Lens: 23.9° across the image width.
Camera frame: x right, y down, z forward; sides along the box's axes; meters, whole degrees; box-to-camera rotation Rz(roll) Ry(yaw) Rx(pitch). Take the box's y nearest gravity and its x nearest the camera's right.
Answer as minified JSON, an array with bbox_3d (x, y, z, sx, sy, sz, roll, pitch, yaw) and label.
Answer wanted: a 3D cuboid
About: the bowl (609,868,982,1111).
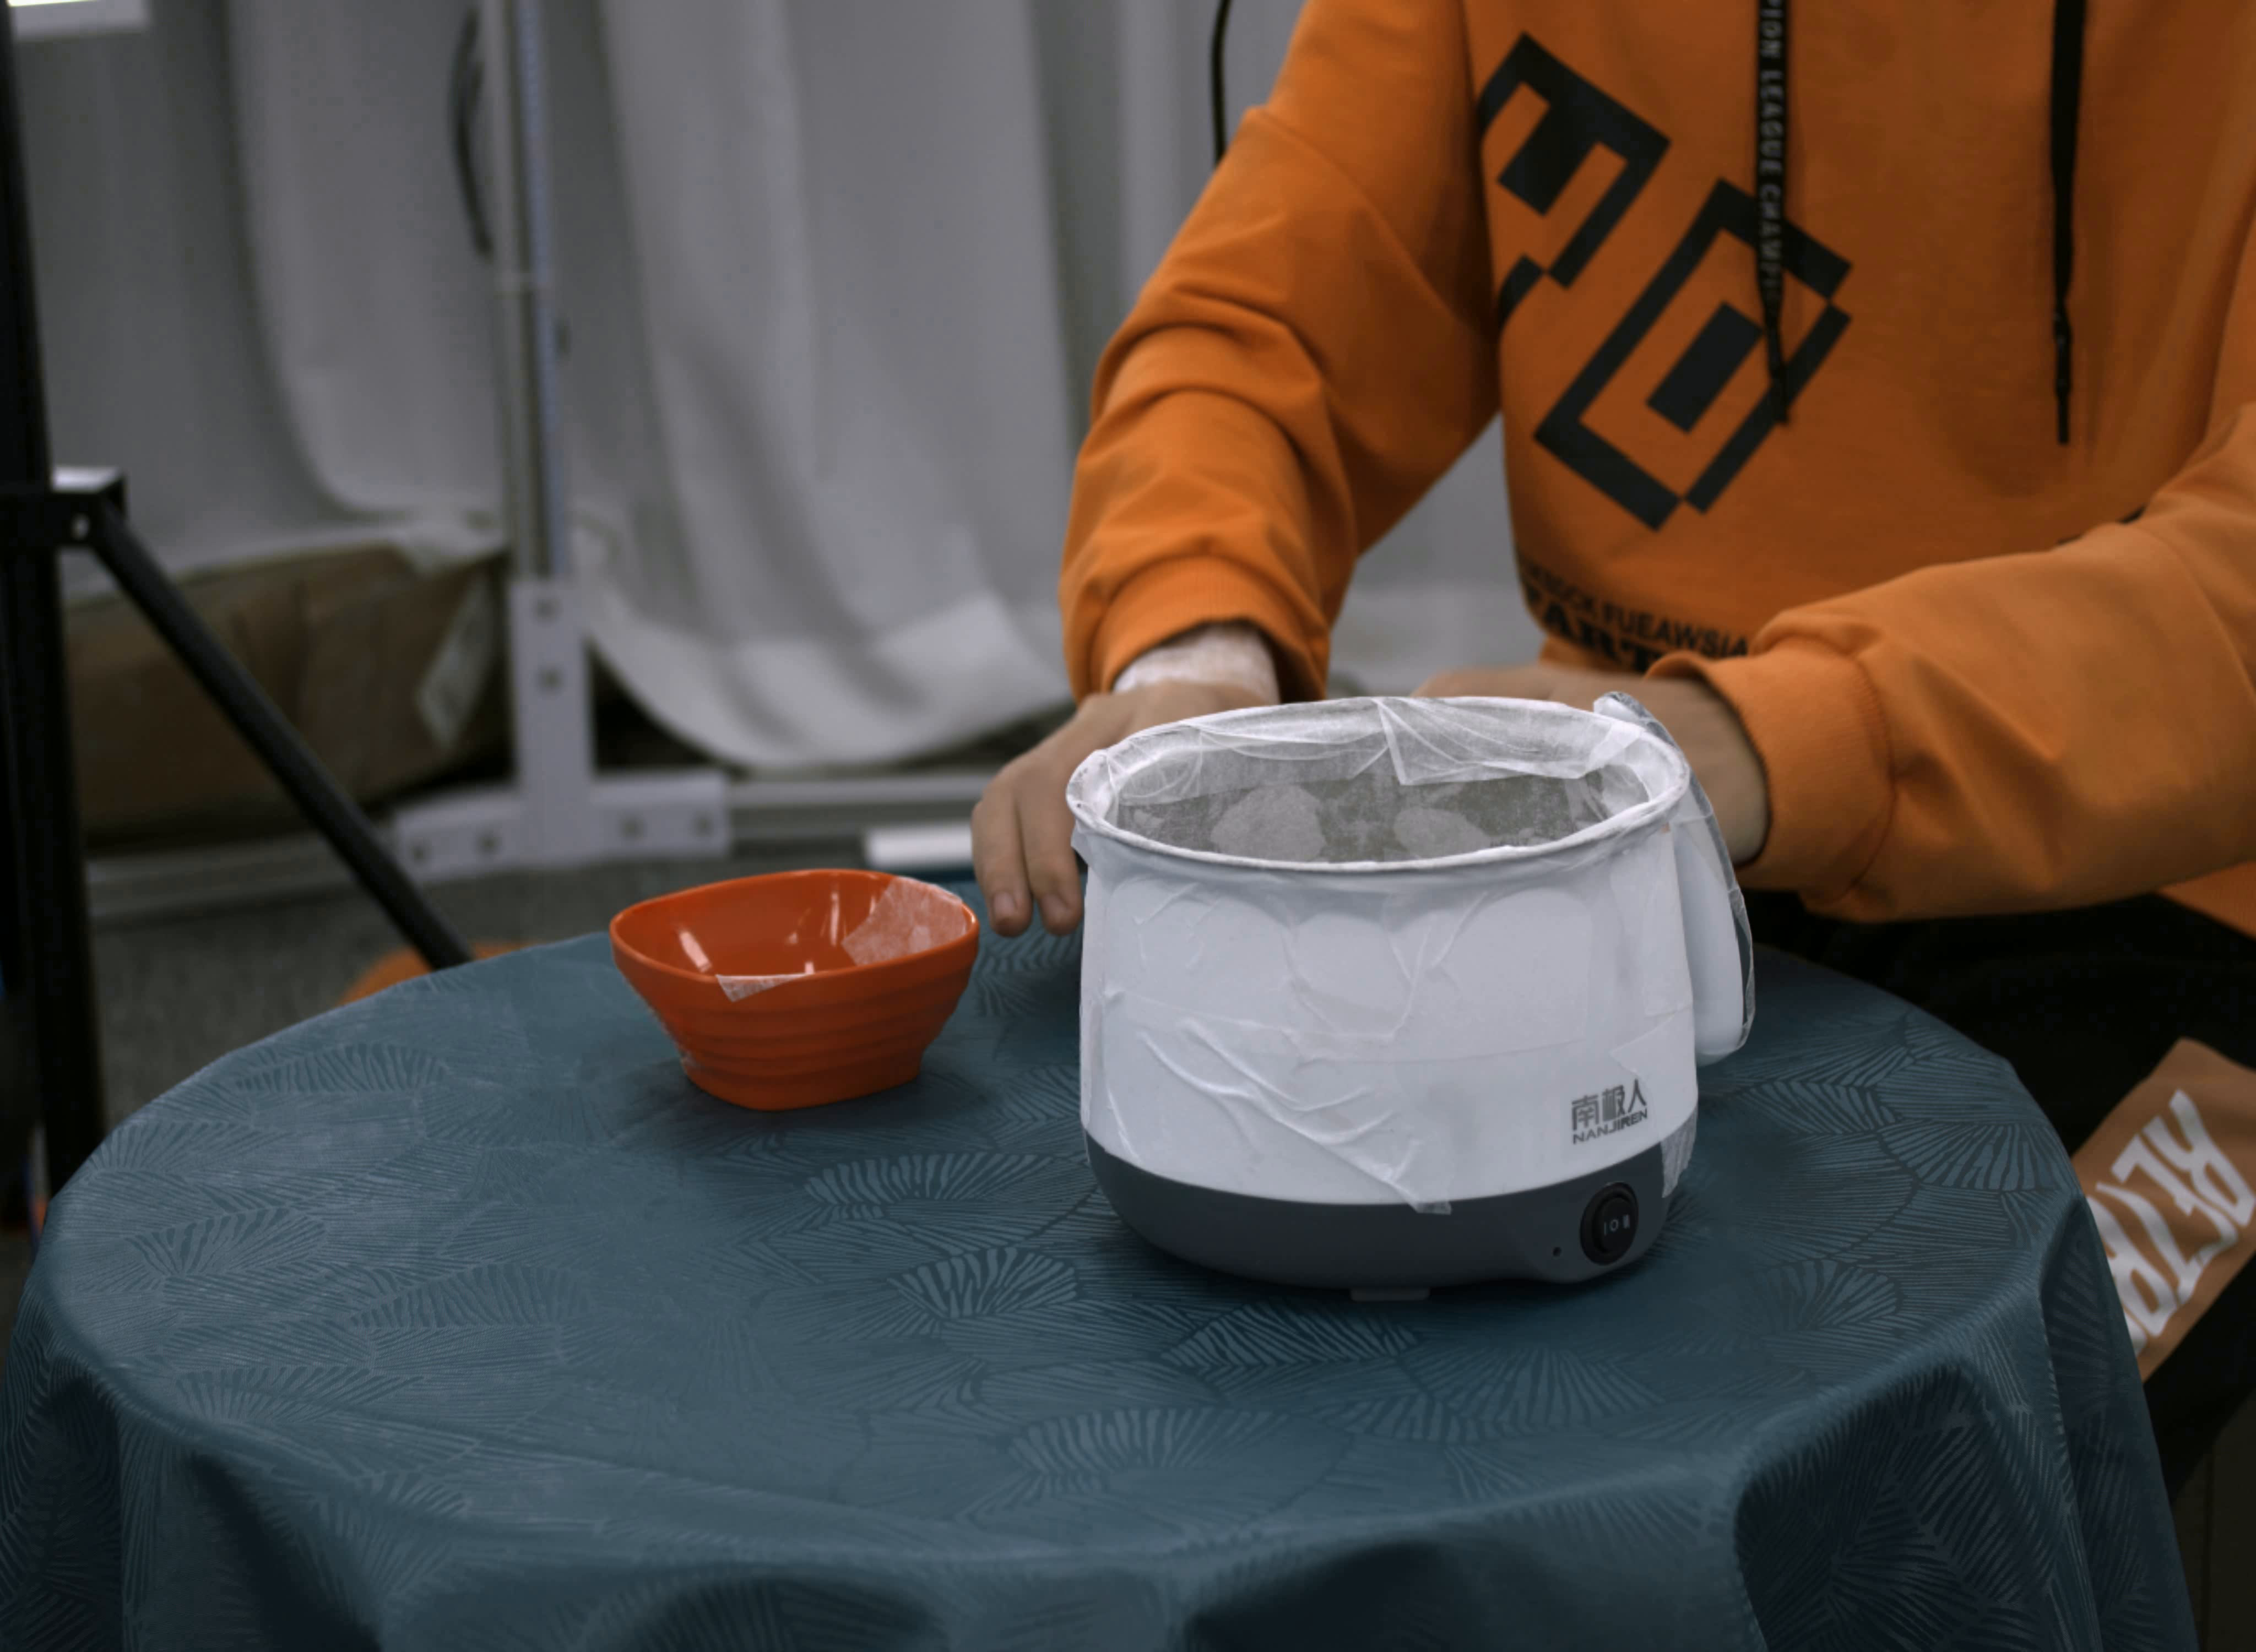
[{"bbox_3d":[-0.103,0.053,1.674,0.118,0.051,0.119,-4,15,0],"label":"bowl"}]

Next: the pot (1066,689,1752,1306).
[{"bbox_3d":[0.093,0.041,1.526,0.228,0.136,0.183,-17,21,-40],"label":"pot"}]
